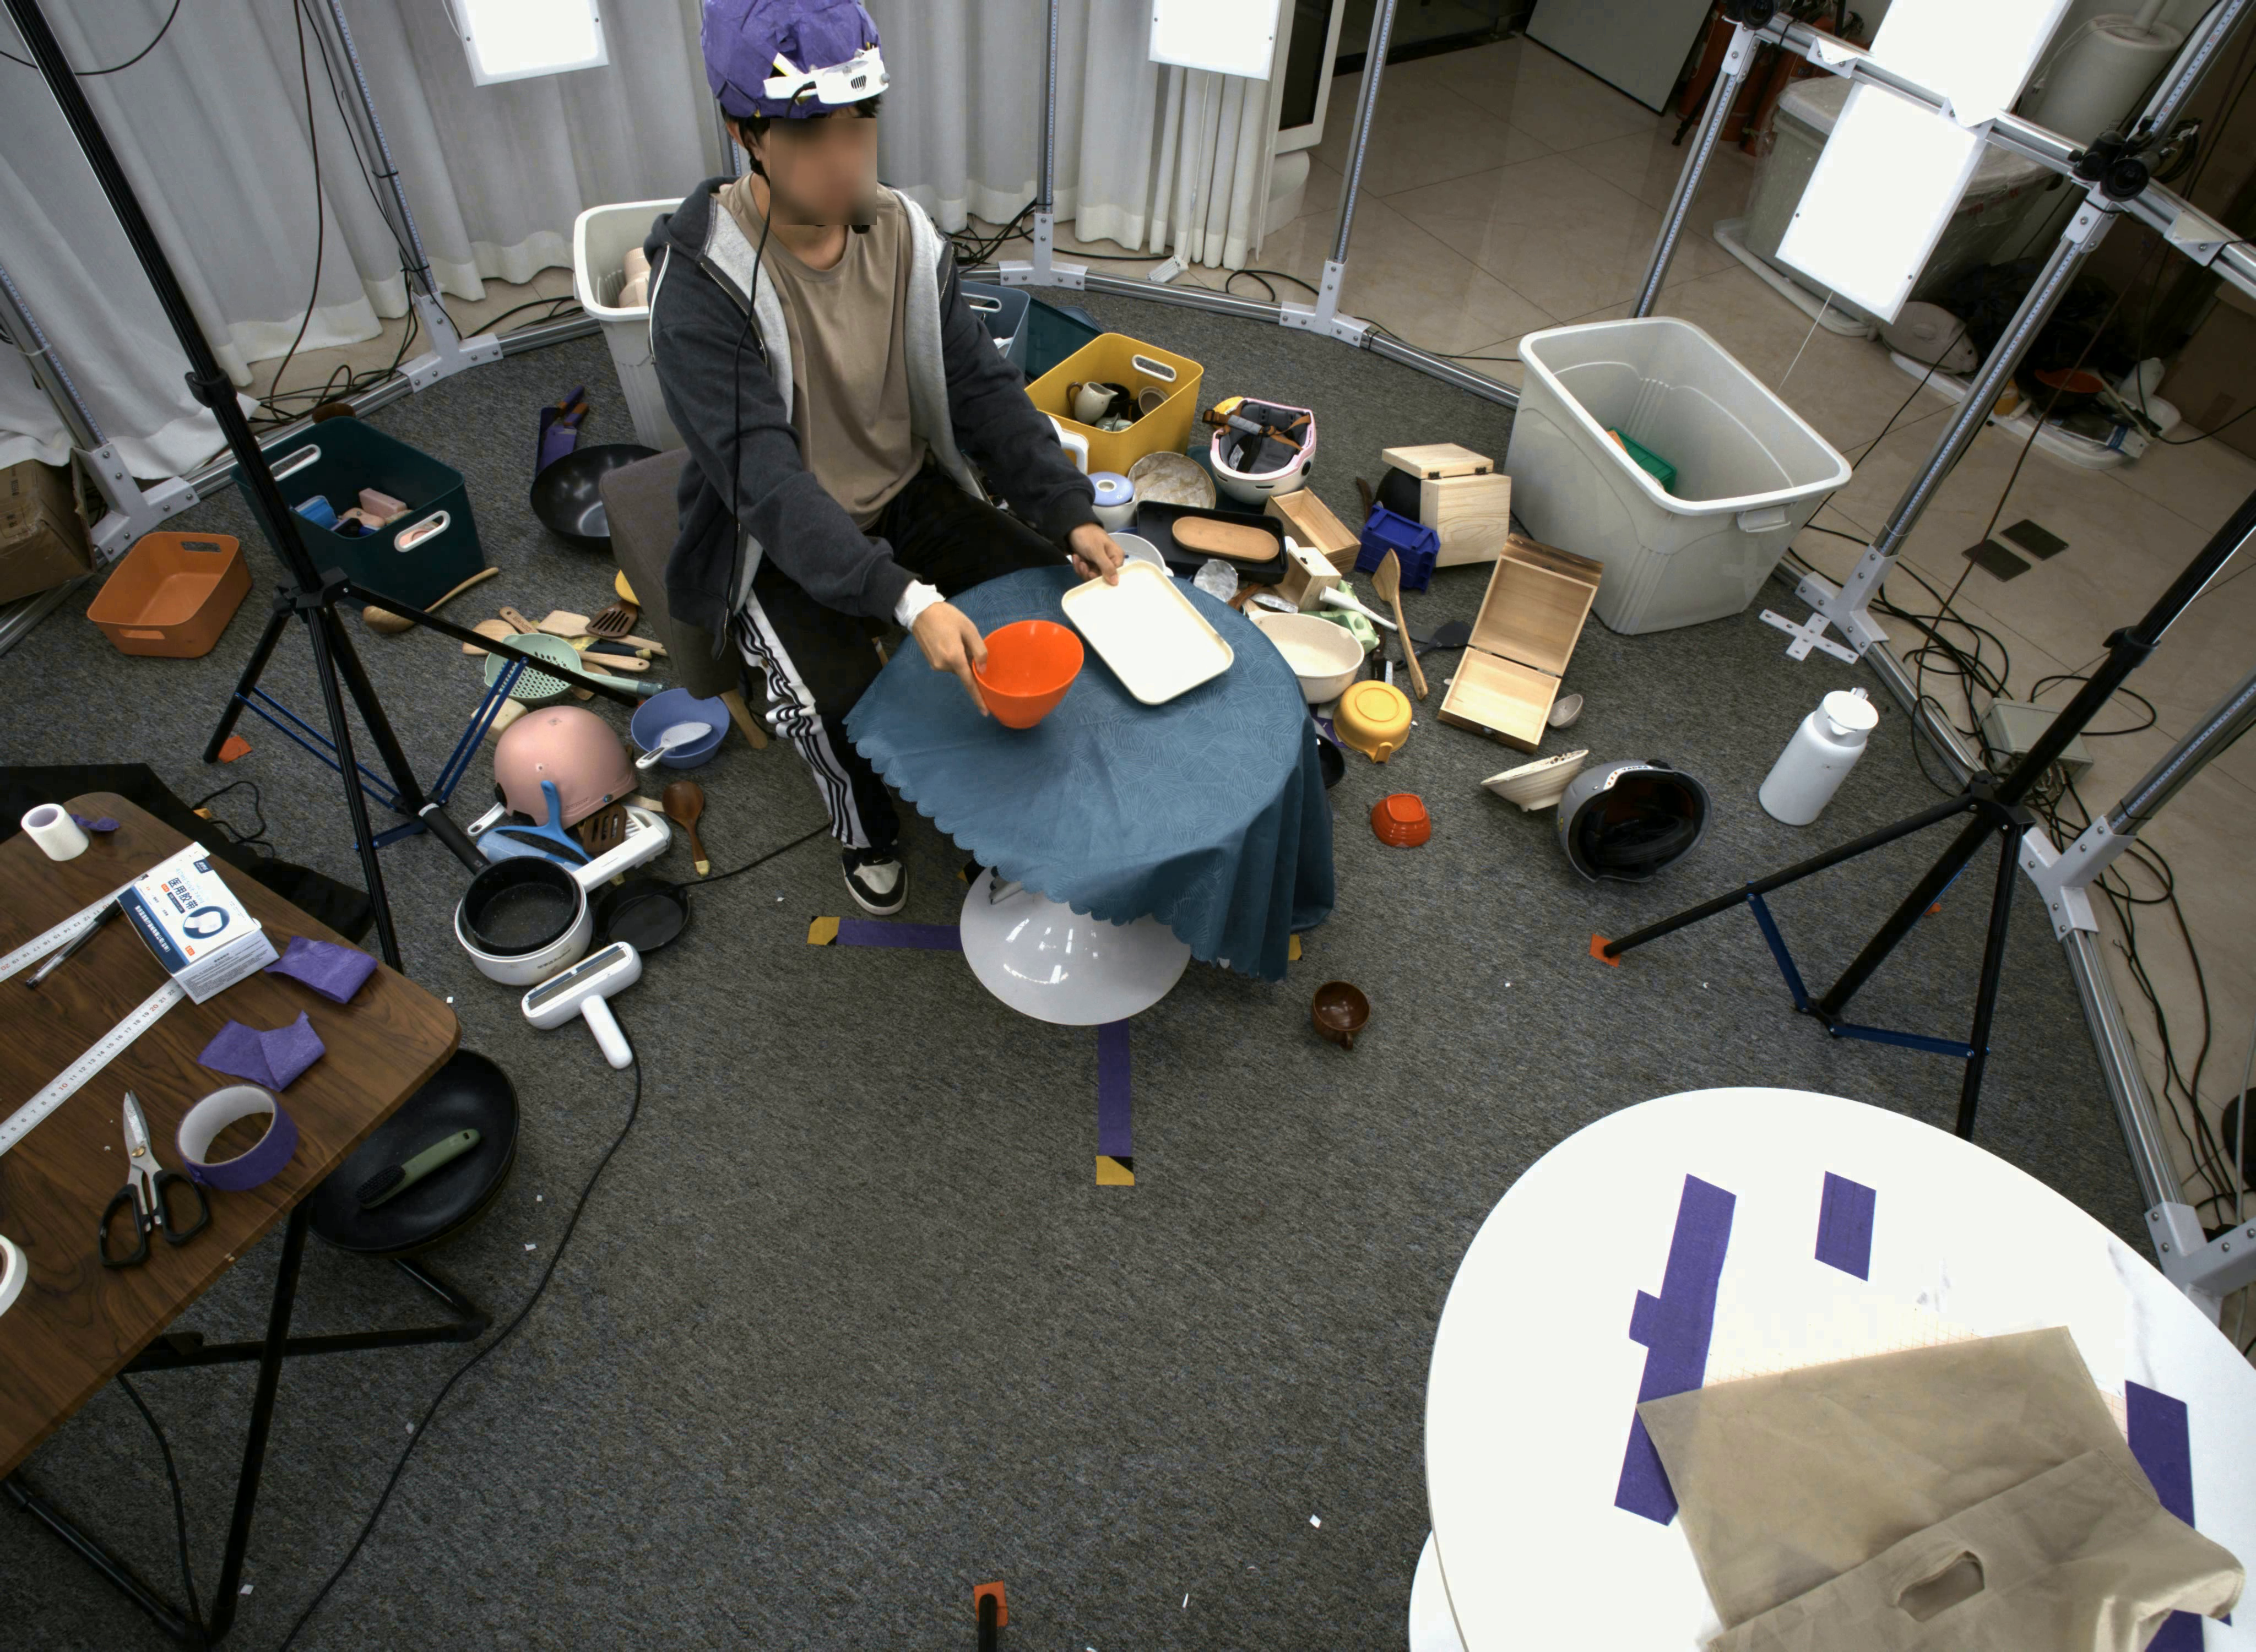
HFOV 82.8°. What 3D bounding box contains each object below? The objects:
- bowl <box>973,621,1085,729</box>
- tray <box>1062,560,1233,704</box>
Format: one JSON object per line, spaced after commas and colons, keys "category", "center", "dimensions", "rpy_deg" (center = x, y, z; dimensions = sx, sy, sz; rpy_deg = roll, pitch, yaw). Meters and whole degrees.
{"category": "bowl", "center": [-0.134, -0.195, 1.732], "dimensions": [0.148, 0.102, 0.152], "rpy_deg": [3, 43, -3]}
{"category": "tray", "center": [0.027, -0.284, 1.872], "dimensions": [0.172, 0.017, 0.244], "rpy_deg": [-28, 63, -21]}
